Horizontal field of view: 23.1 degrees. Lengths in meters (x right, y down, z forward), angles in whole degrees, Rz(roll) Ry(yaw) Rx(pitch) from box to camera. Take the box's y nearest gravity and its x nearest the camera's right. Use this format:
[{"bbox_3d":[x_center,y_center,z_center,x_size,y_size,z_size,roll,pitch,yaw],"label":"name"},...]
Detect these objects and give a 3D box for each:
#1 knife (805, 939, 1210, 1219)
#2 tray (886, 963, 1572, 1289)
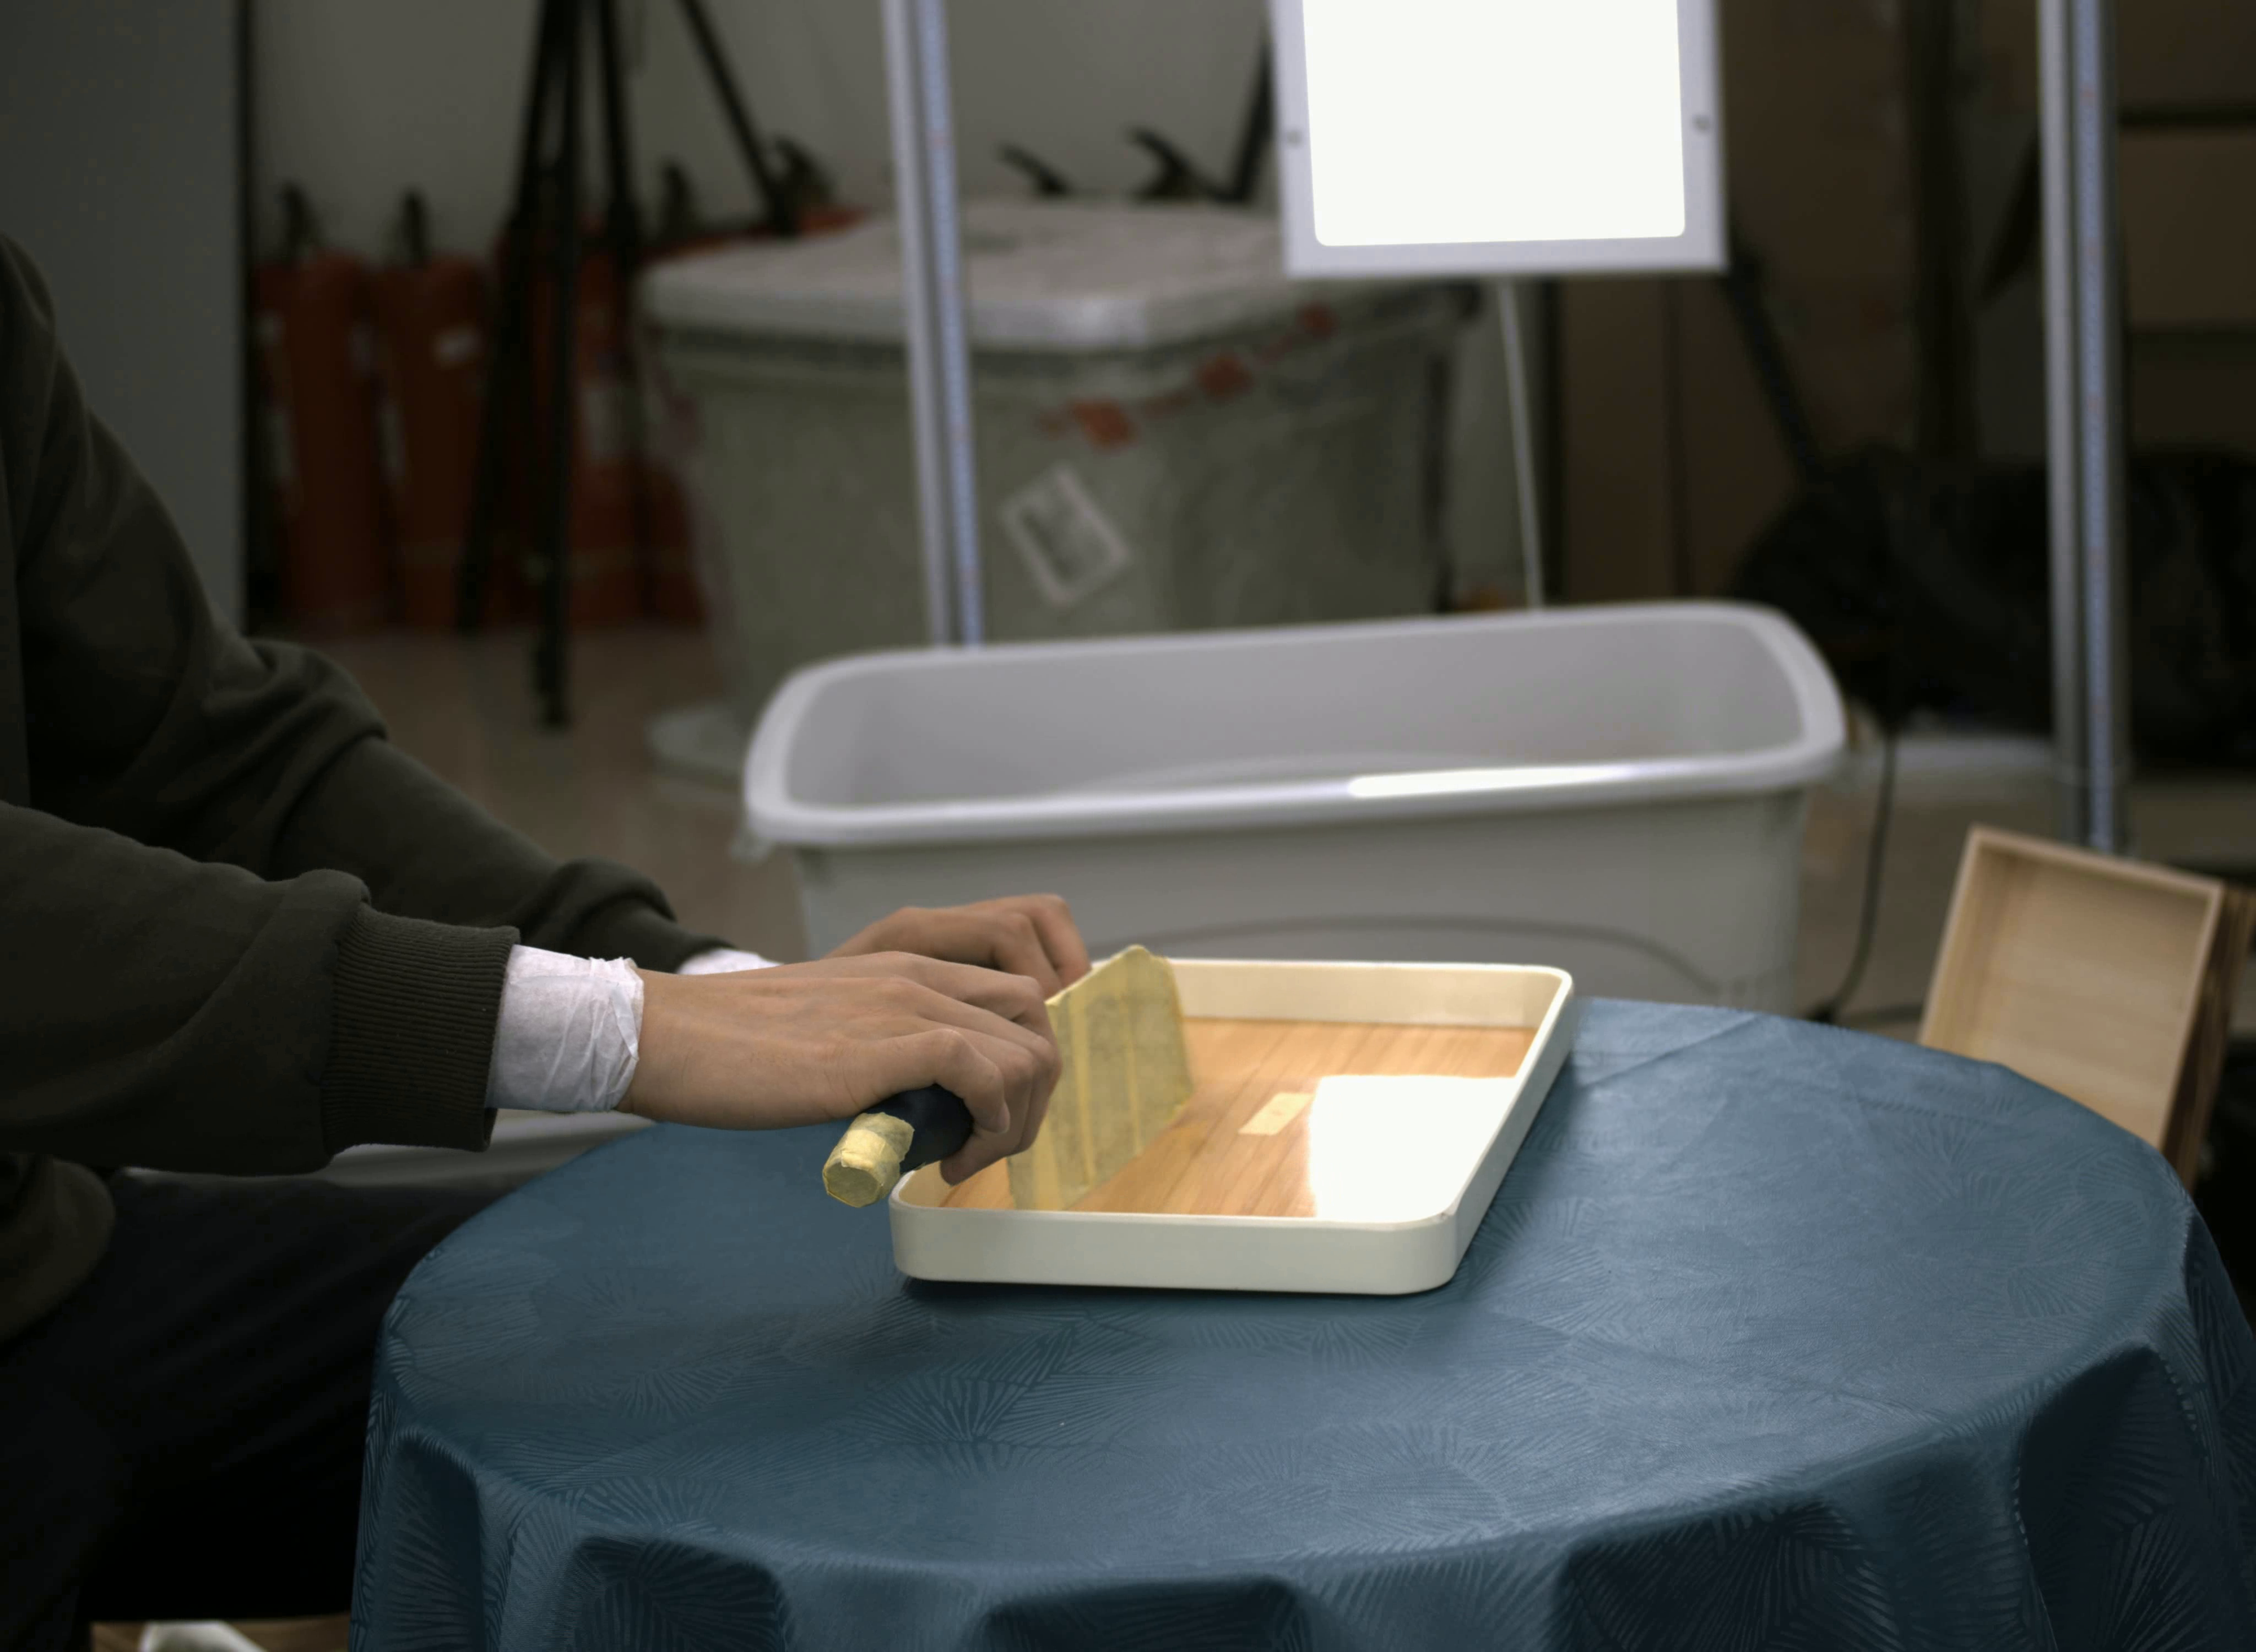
[{"bbox_3d":[-0.031,0.096,1.826,0.028,0.081,0.283,-3,8,26],"label":"knife"},{"bbox_3d":[0.042,0.101,1.922,0.193,0.027,0.296,-1,14,15],"label":"tray"}]
